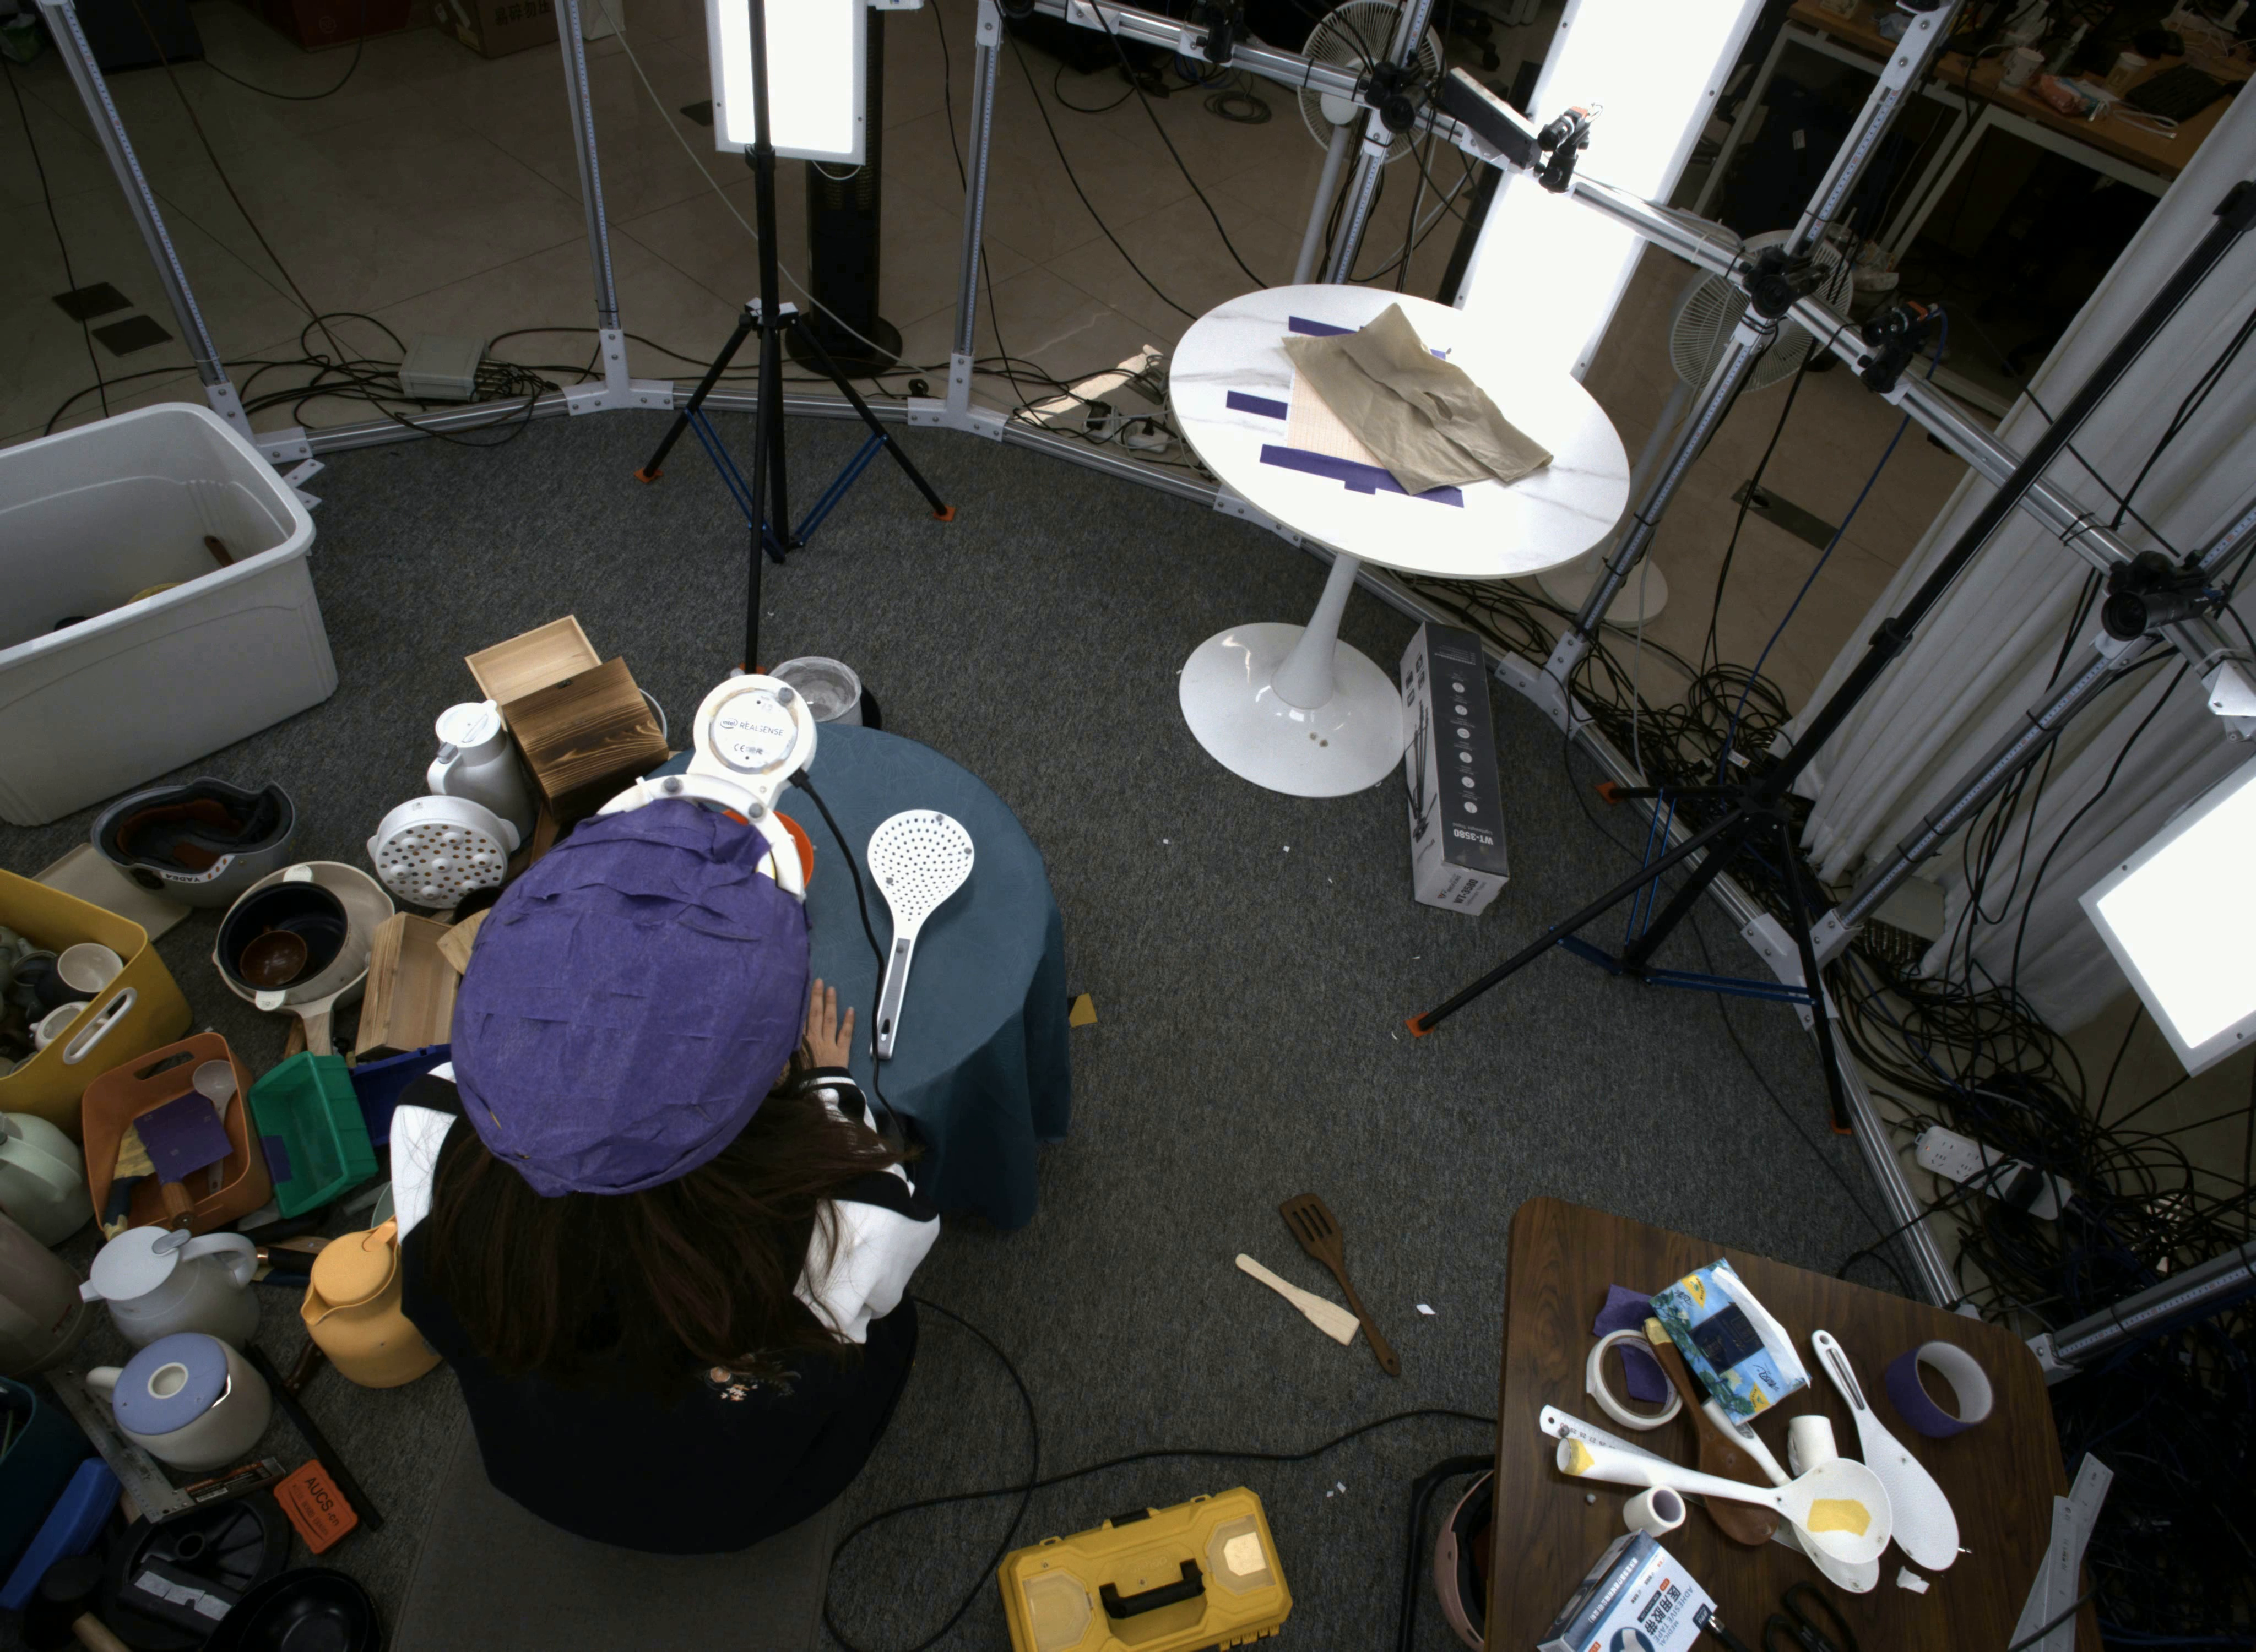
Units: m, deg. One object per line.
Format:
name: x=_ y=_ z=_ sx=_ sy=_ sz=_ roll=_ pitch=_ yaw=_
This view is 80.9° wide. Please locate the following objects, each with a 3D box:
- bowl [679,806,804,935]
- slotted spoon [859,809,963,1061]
bowl: x=-0.474 y=0.065 z=1.590 sx=0.148 sy=0.106 sz=0.145 roll=10 pitch=51 yaw=-10
slotted spoon: x=-0.289 y=0.128 z=1.629 sx=0.135 sy=0.047 sz=0.344 roll=9 pitch=53 yaw=-6
